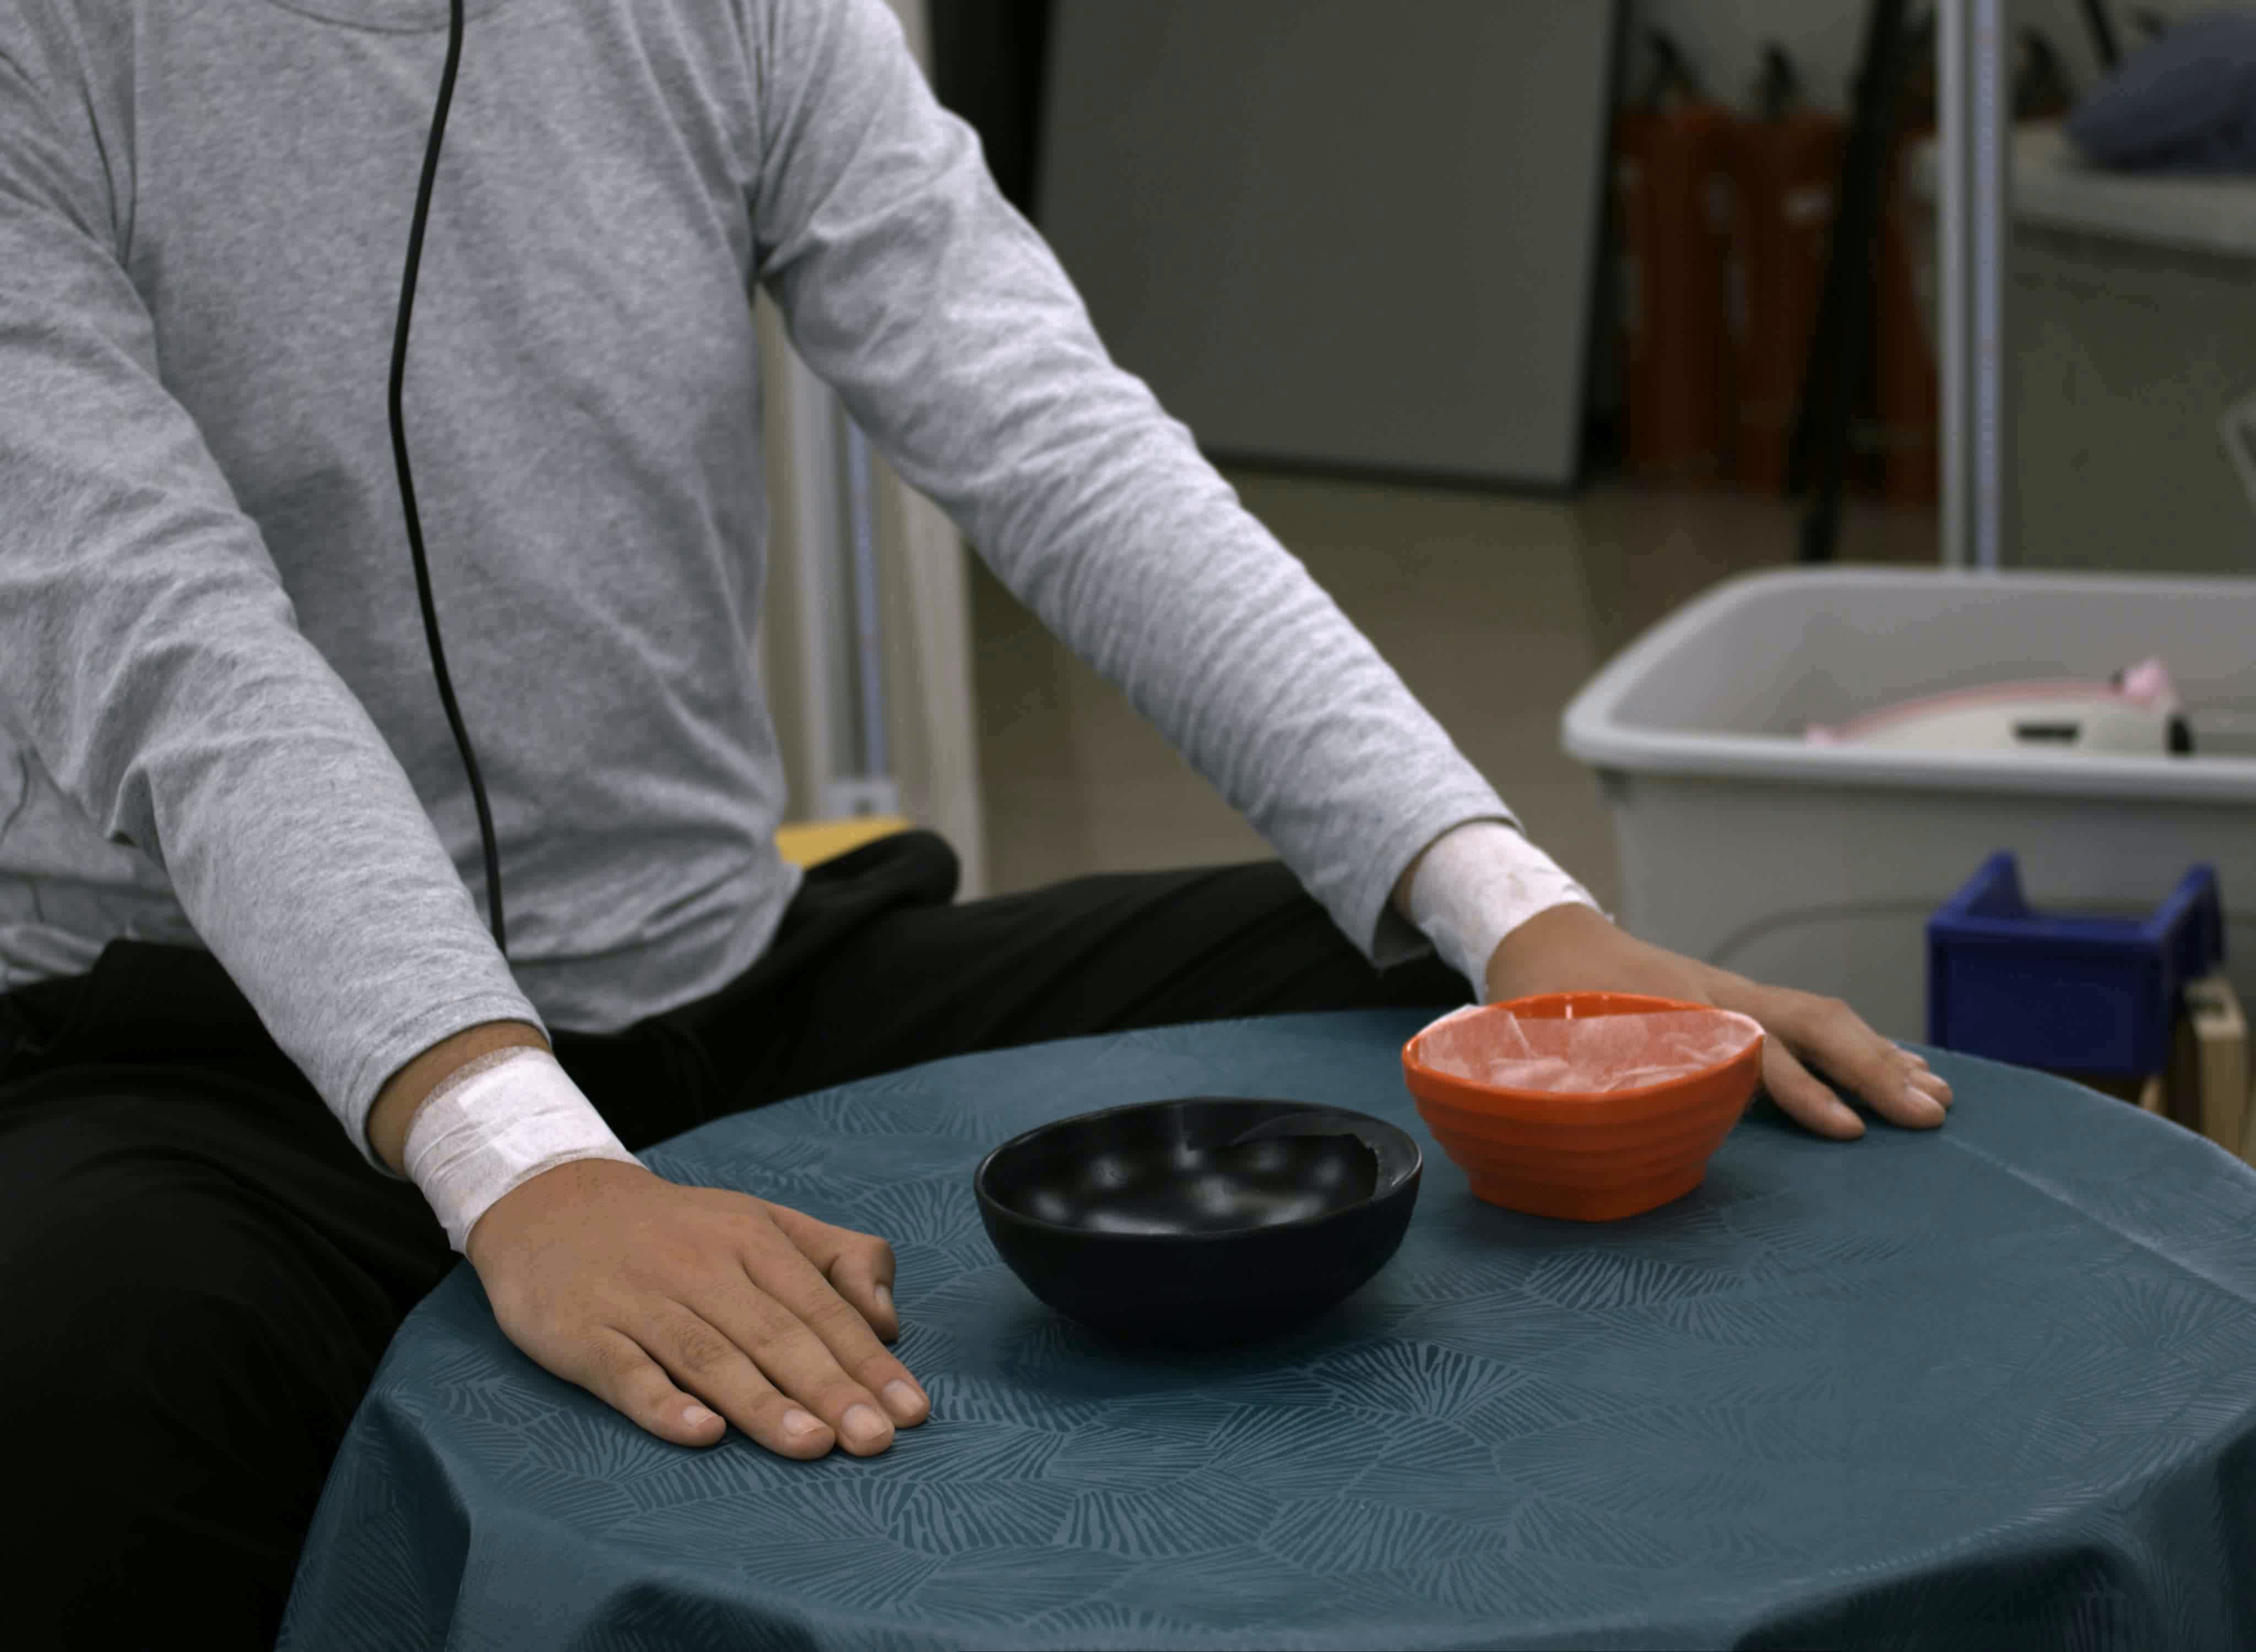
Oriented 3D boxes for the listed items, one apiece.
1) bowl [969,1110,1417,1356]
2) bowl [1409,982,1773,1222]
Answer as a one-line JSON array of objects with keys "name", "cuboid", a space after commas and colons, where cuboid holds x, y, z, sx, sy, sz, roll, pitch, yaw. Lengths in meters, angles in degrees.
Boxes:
[{"name": "bowl", "cuboid": [0.022, 0.128, 1.645, 0.138, 0.050, 0.140, -5, 11, 0]}, {"name": "bowl", "cuboid": [0.150, 0.091, 1.741, 0.117, 0.052, 0.119, -4, 15, 0]}]
